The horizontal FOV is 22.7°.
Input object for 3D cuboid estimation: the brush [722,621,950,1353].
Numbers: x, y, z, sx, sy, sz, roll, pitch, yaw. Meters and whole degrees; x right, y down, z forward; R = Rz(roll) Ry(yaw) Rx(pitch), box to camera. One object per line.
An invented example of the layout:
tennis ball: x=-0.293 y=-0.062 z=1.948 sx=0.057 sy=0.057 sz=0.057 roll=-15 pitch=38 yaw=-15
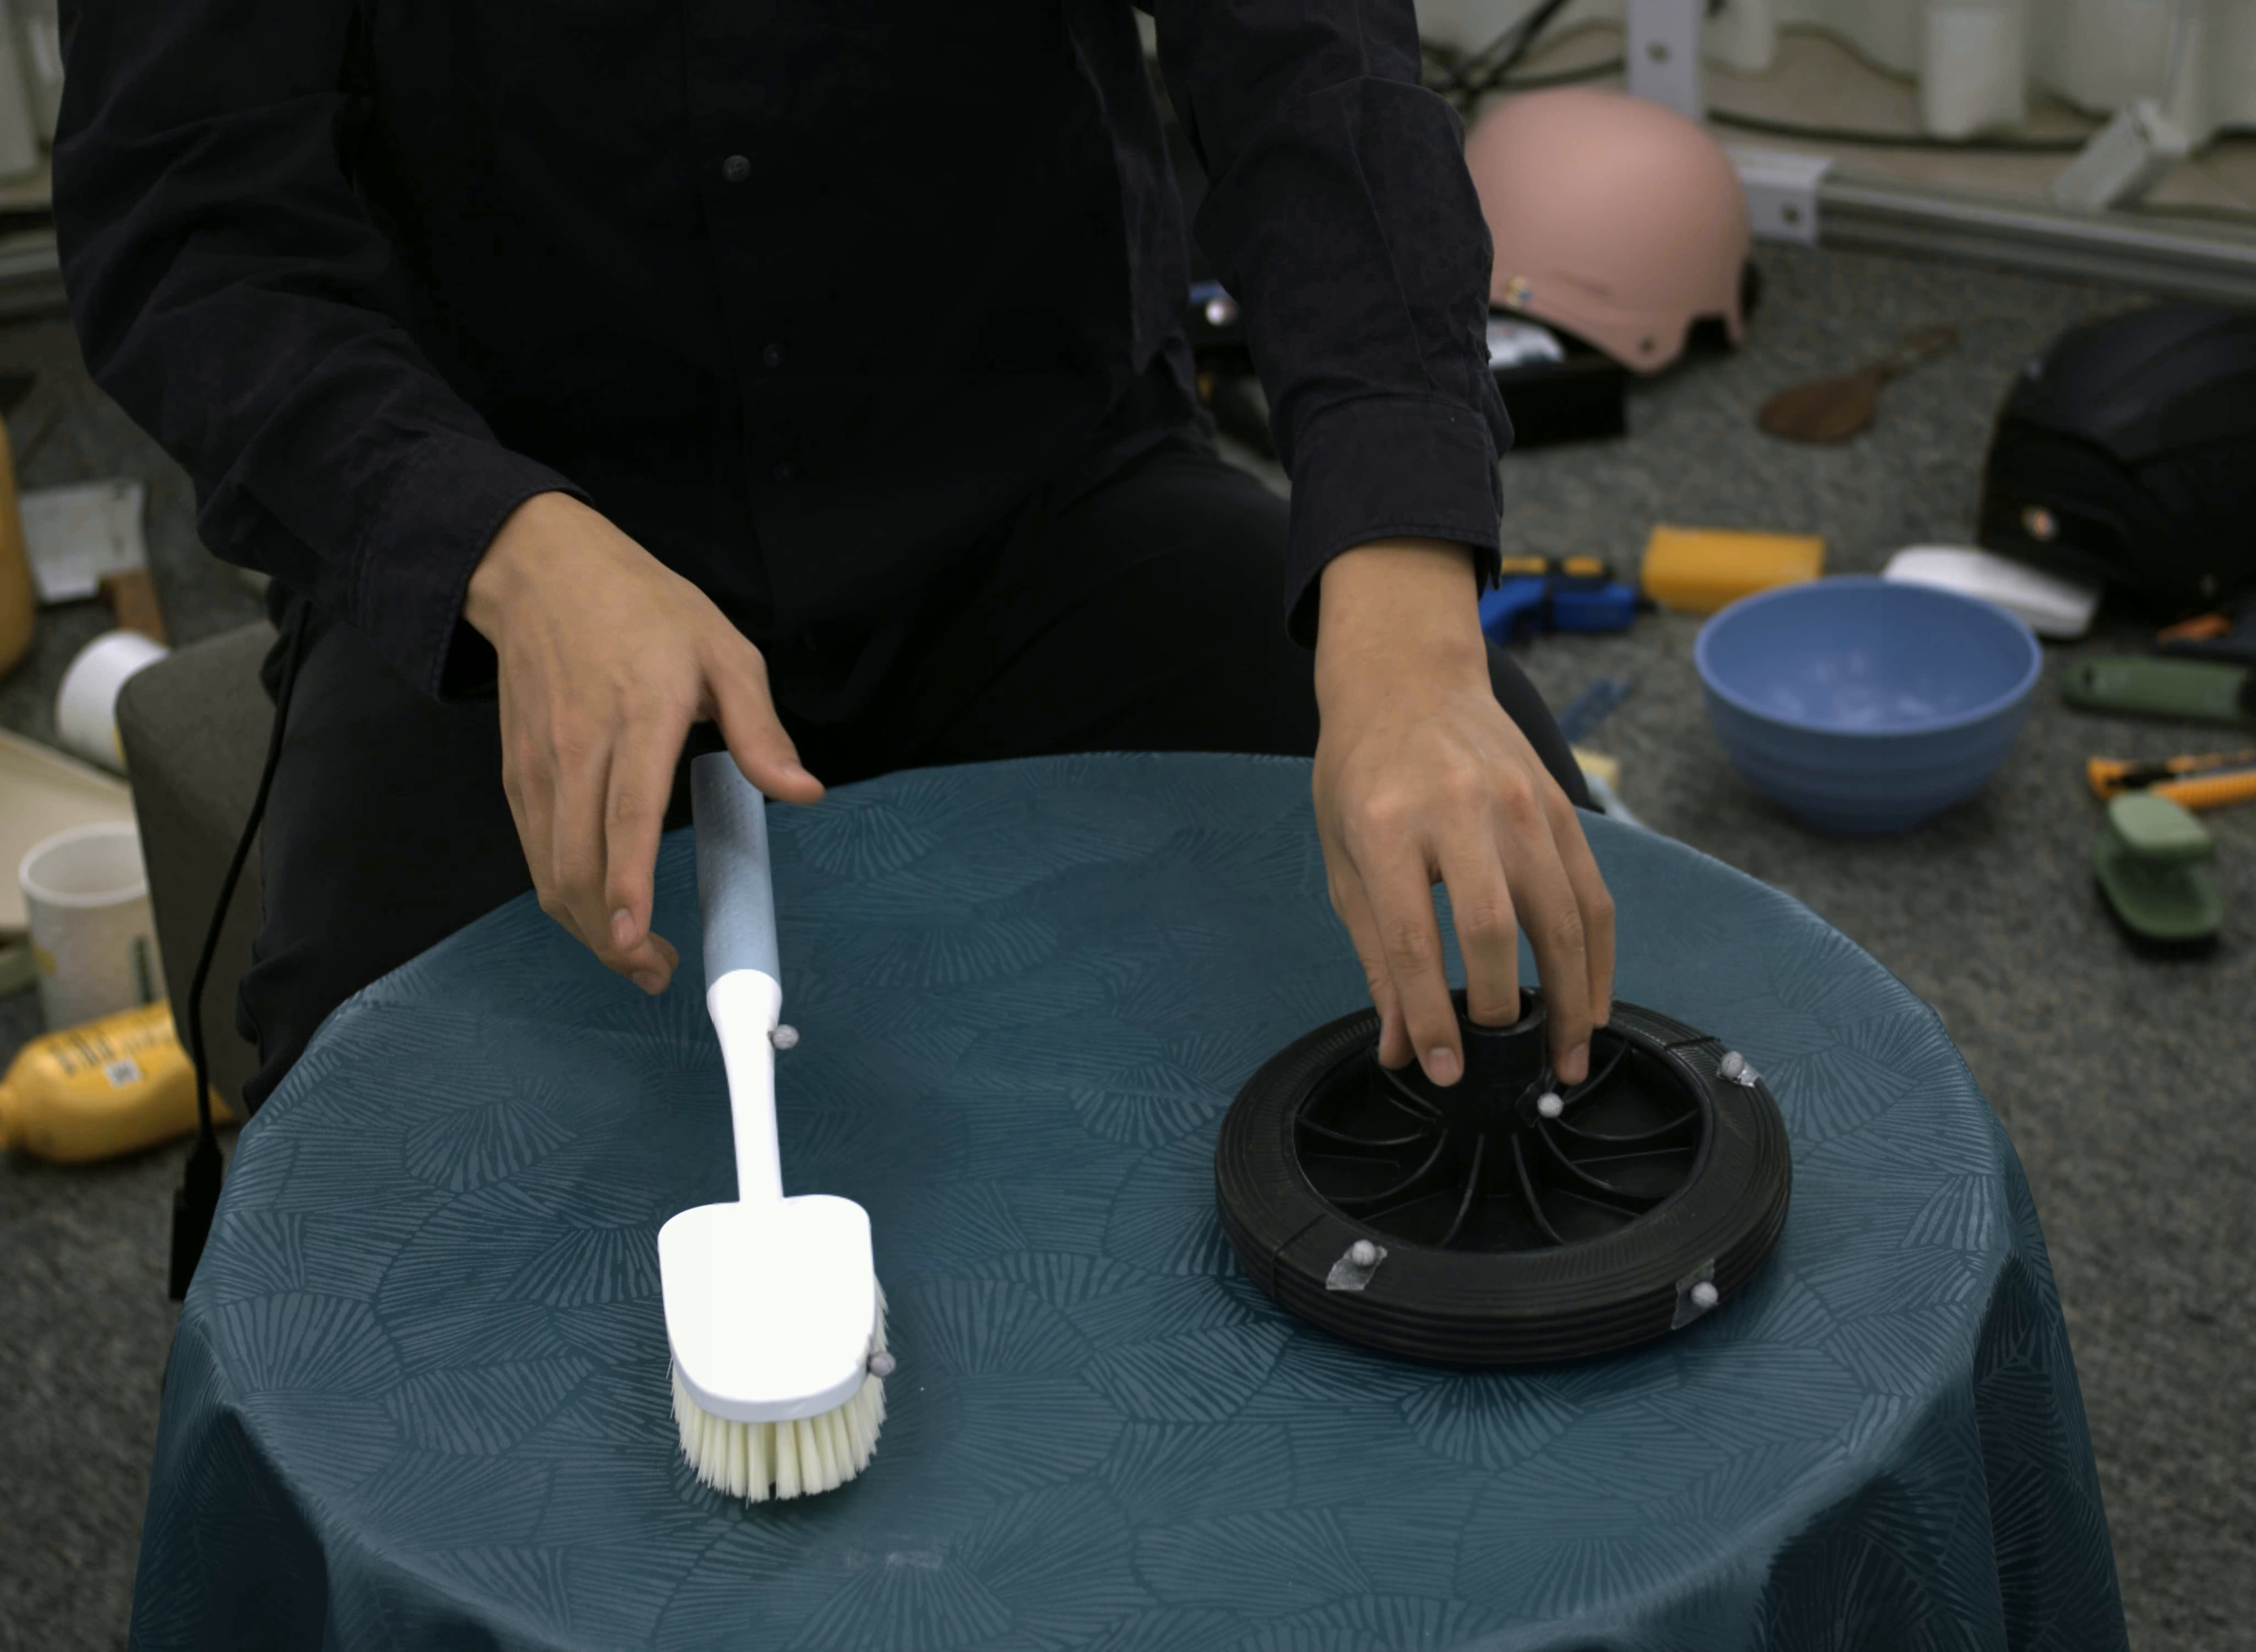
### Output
brush: x=-0.096 y=0.060 z=1.845 sx=0.083 sy=0.083 sz=0.331 roll=26 pitch=31 yaw=-25

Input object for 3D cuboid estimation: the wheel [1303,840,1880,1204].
wheel: x=0.150 y=0.046 z=1.844 sx=0.188 sy=0.078 sz=0.191 roll=7 pitch=33 yaw=21
